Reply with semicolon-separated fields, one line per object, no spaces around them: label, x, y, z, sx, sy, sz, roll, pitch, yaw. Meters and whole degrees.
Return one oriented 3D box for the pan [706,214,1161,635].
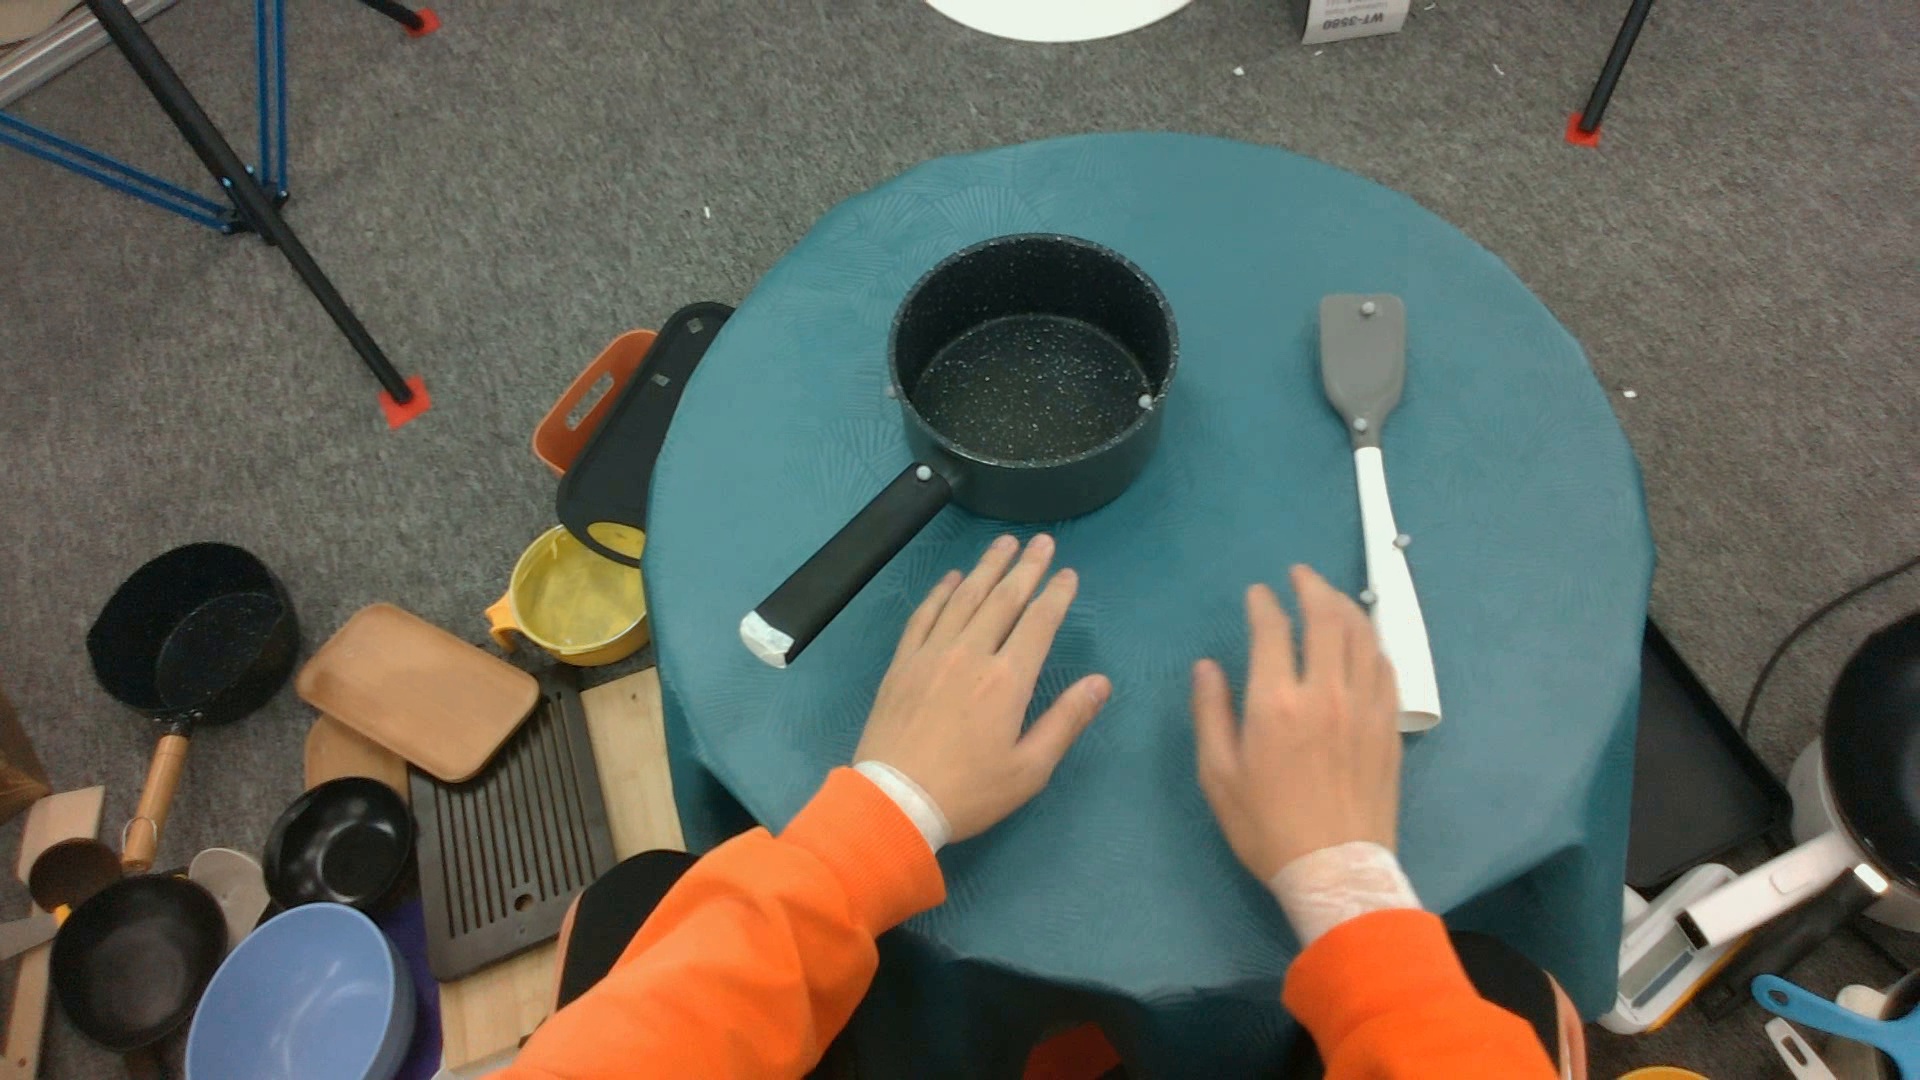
pan;-0.017;-0.054;0.803;0.172;0.086;0.330;34;66;20

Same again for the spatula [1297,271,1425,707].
spatula;0.238;-0.040;0.814;0.058;0.032;0.289;-2;61;7
